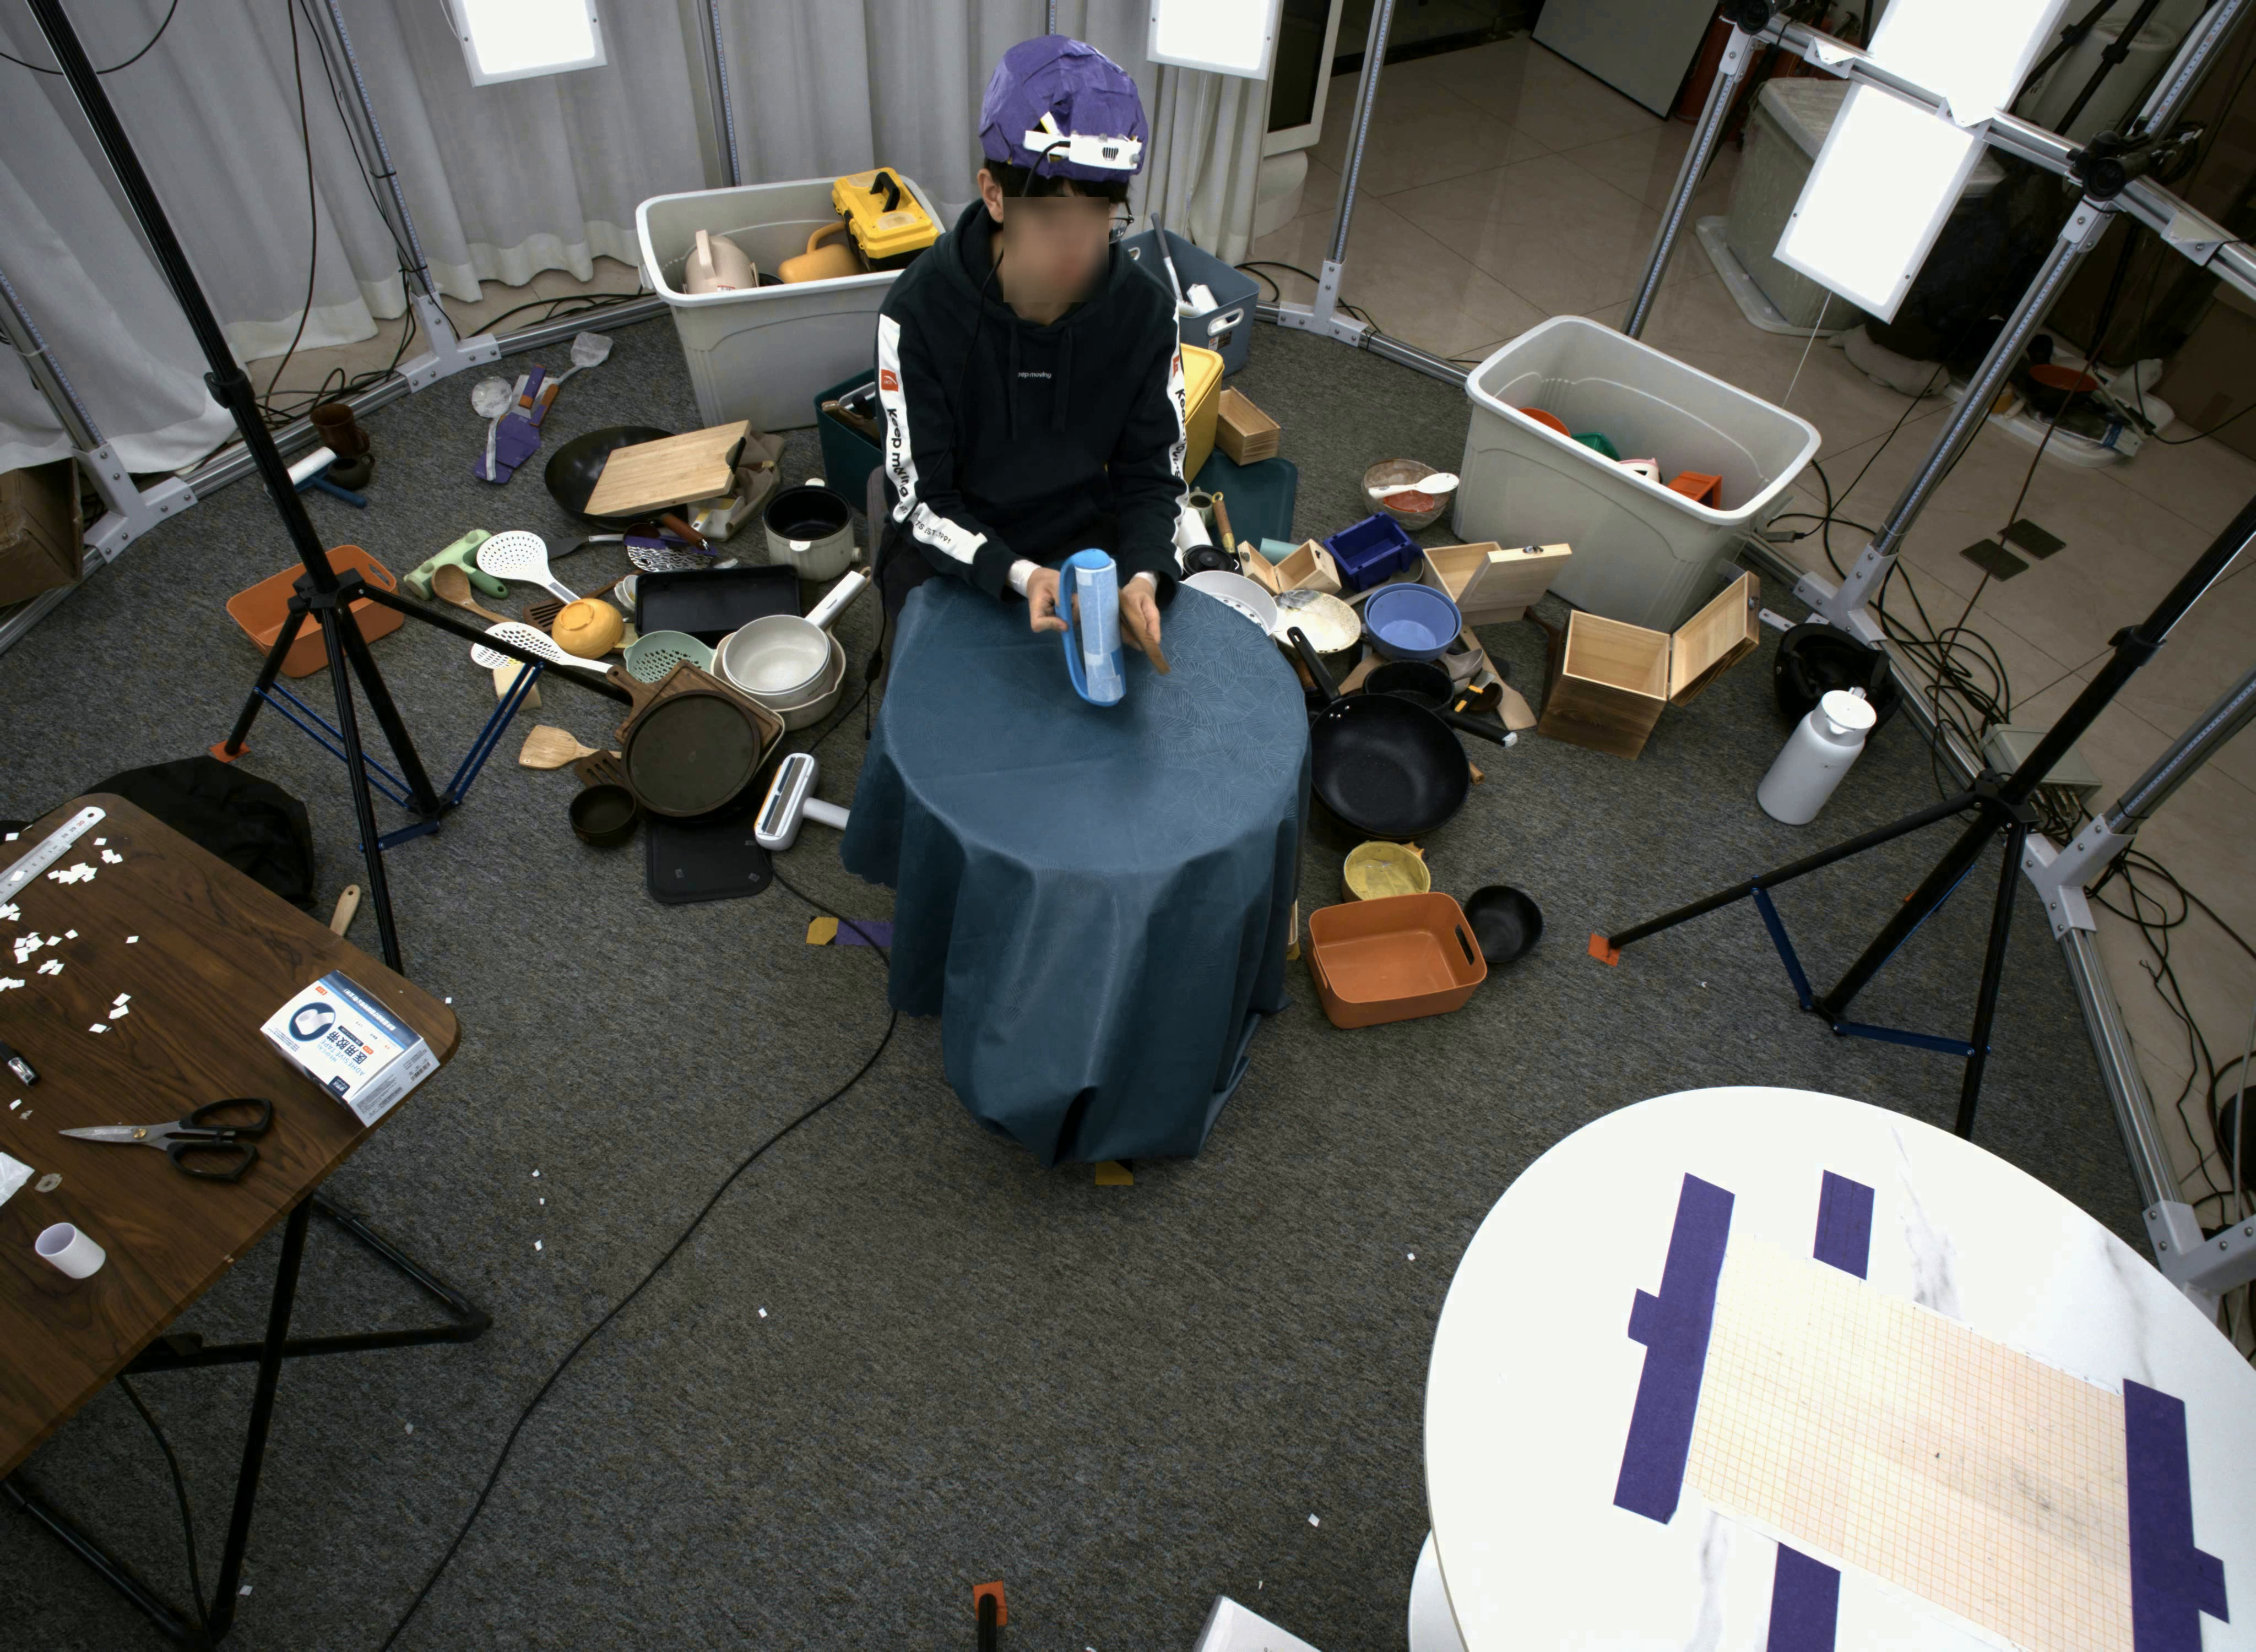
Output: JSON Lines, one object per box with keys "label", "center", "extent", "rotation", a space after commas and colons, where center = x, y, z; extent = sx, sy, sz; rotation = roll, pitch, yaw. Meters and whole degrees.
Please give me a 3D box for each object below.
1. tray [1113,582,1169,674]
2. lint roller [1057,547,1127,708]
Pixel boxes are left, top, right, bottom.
{"label": "tray", "center": [0.002, -0.284, 1.764], "extent": [0.020, 0.099, 0.236], "rotation": [-31, 39, 0]}
{"label": "lint roller", "center": [-0.065, -0.287, 1.771], "extent": [0.068, 0.224, 0.183], "rotation": [-20, 31, -21]}
